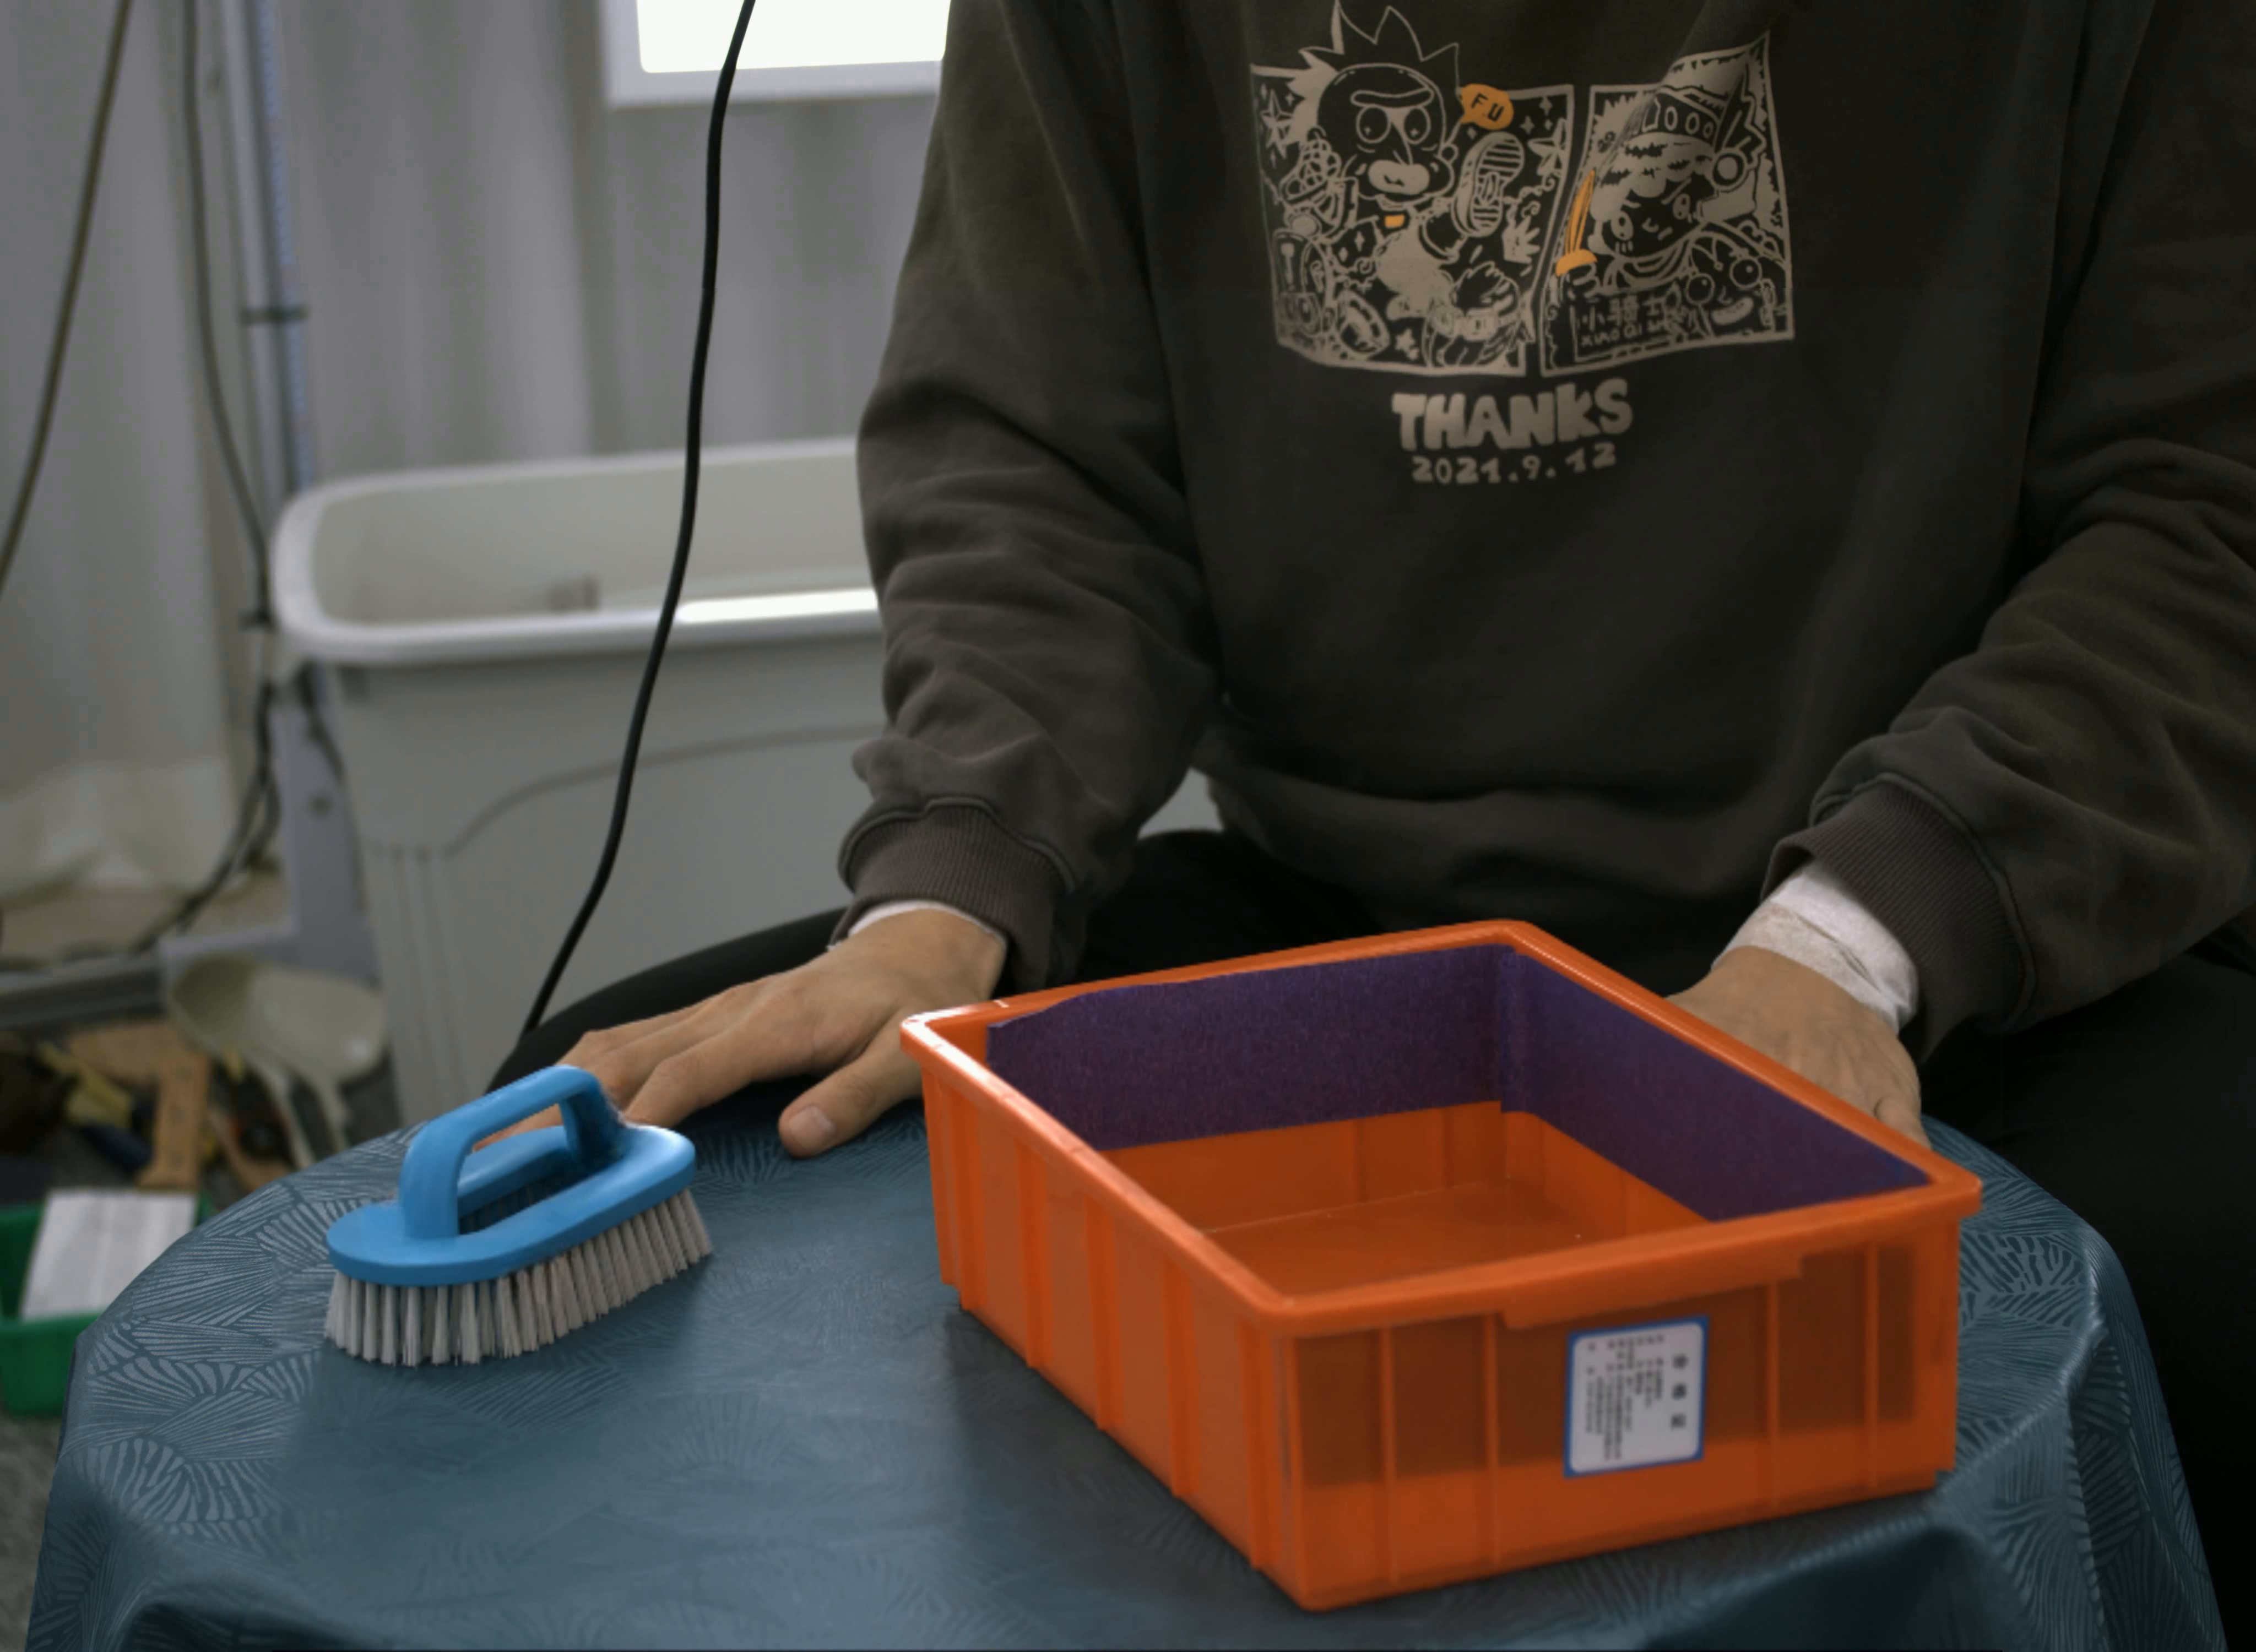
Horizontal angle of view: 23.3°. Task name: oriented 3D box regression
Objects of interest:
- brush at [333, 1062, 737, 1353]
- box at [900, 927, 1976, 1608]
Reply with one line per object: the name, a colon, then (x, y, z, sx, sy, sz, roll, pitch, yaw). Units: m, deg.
brush: (-0.182, 0.110, 1.653, 0.084, 0.063, 0.142, 1, 13, 34)
box: (0.079, 0.118, 1.532, 0.205, 0.096, 0.306, -8, 16, -19)
